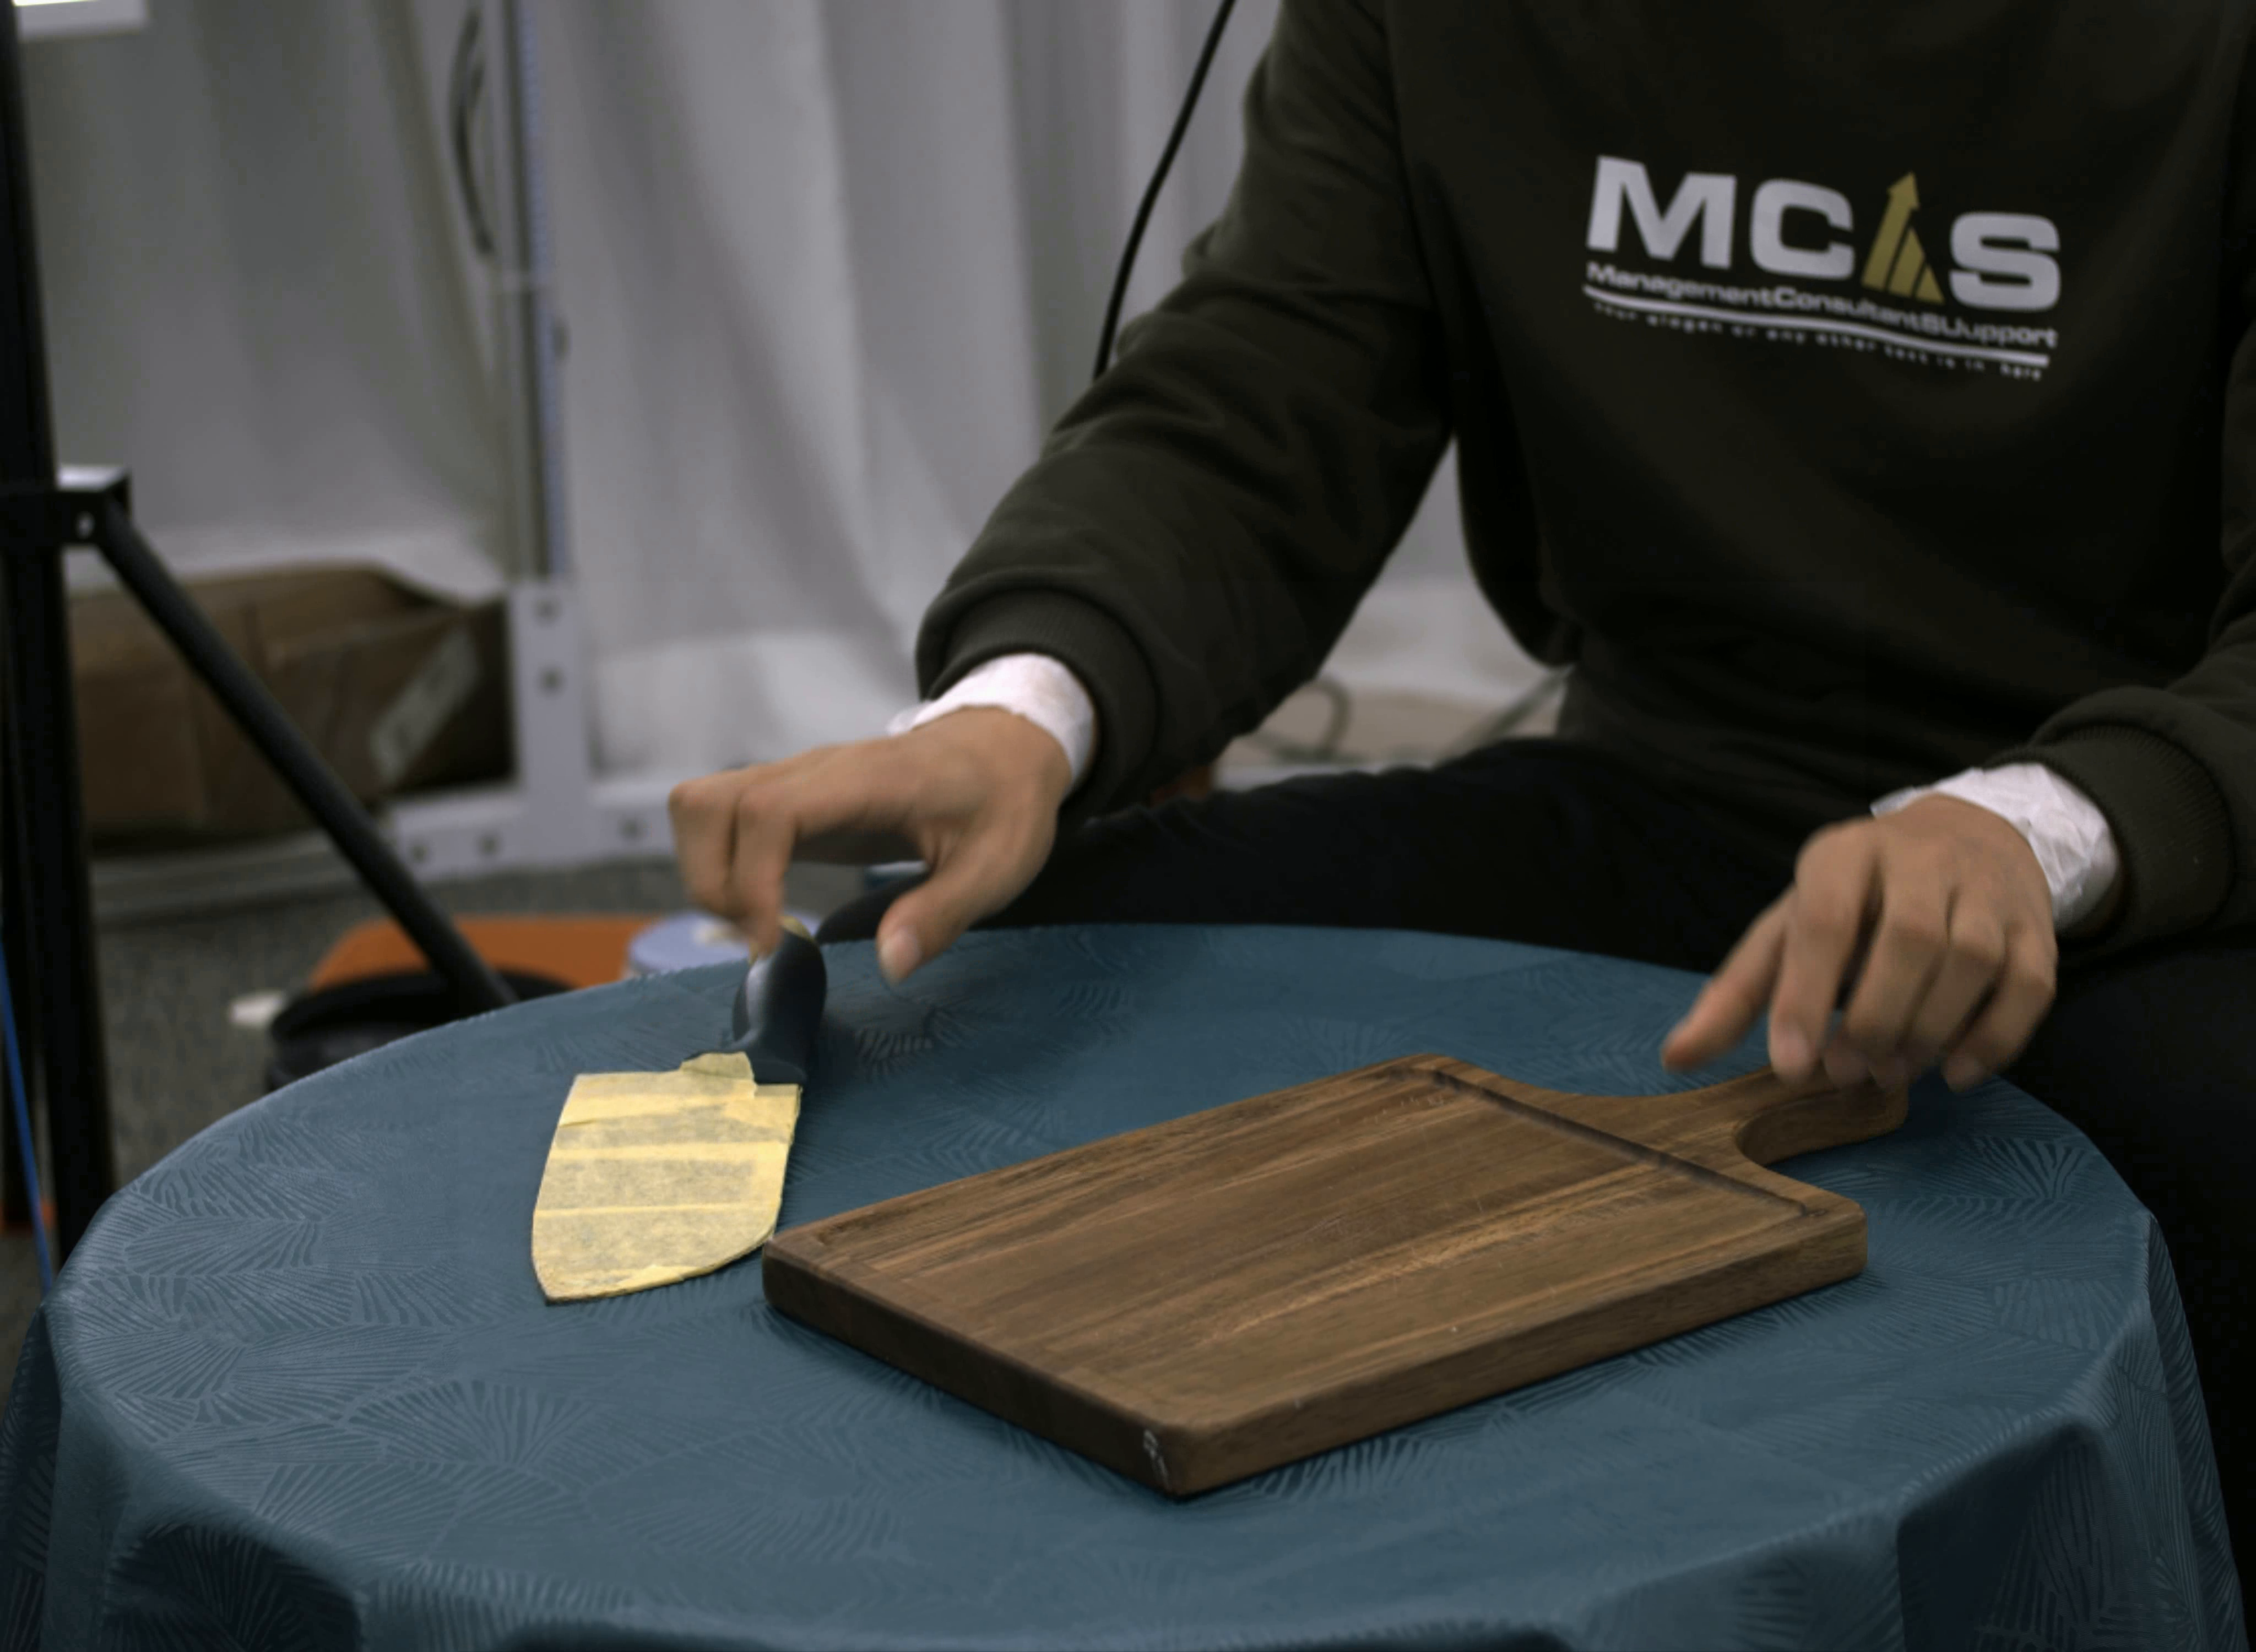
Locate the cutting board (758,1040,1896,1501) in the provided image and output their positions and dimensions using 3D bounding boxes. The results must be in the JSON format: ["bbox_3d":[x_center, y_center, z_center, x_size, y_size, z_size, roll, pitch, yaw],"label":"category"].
[{"bbox_3d":[0.091,0.110,1.502,0.344,0.023,0.206,-14,20,-35],"label":"cutting board"}]

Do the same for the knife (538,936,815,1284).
[{"bbox_3d":[-0.135,0.086,1.632,0.081,0.027,0.290,1,17,3],"label":"knife"}]
